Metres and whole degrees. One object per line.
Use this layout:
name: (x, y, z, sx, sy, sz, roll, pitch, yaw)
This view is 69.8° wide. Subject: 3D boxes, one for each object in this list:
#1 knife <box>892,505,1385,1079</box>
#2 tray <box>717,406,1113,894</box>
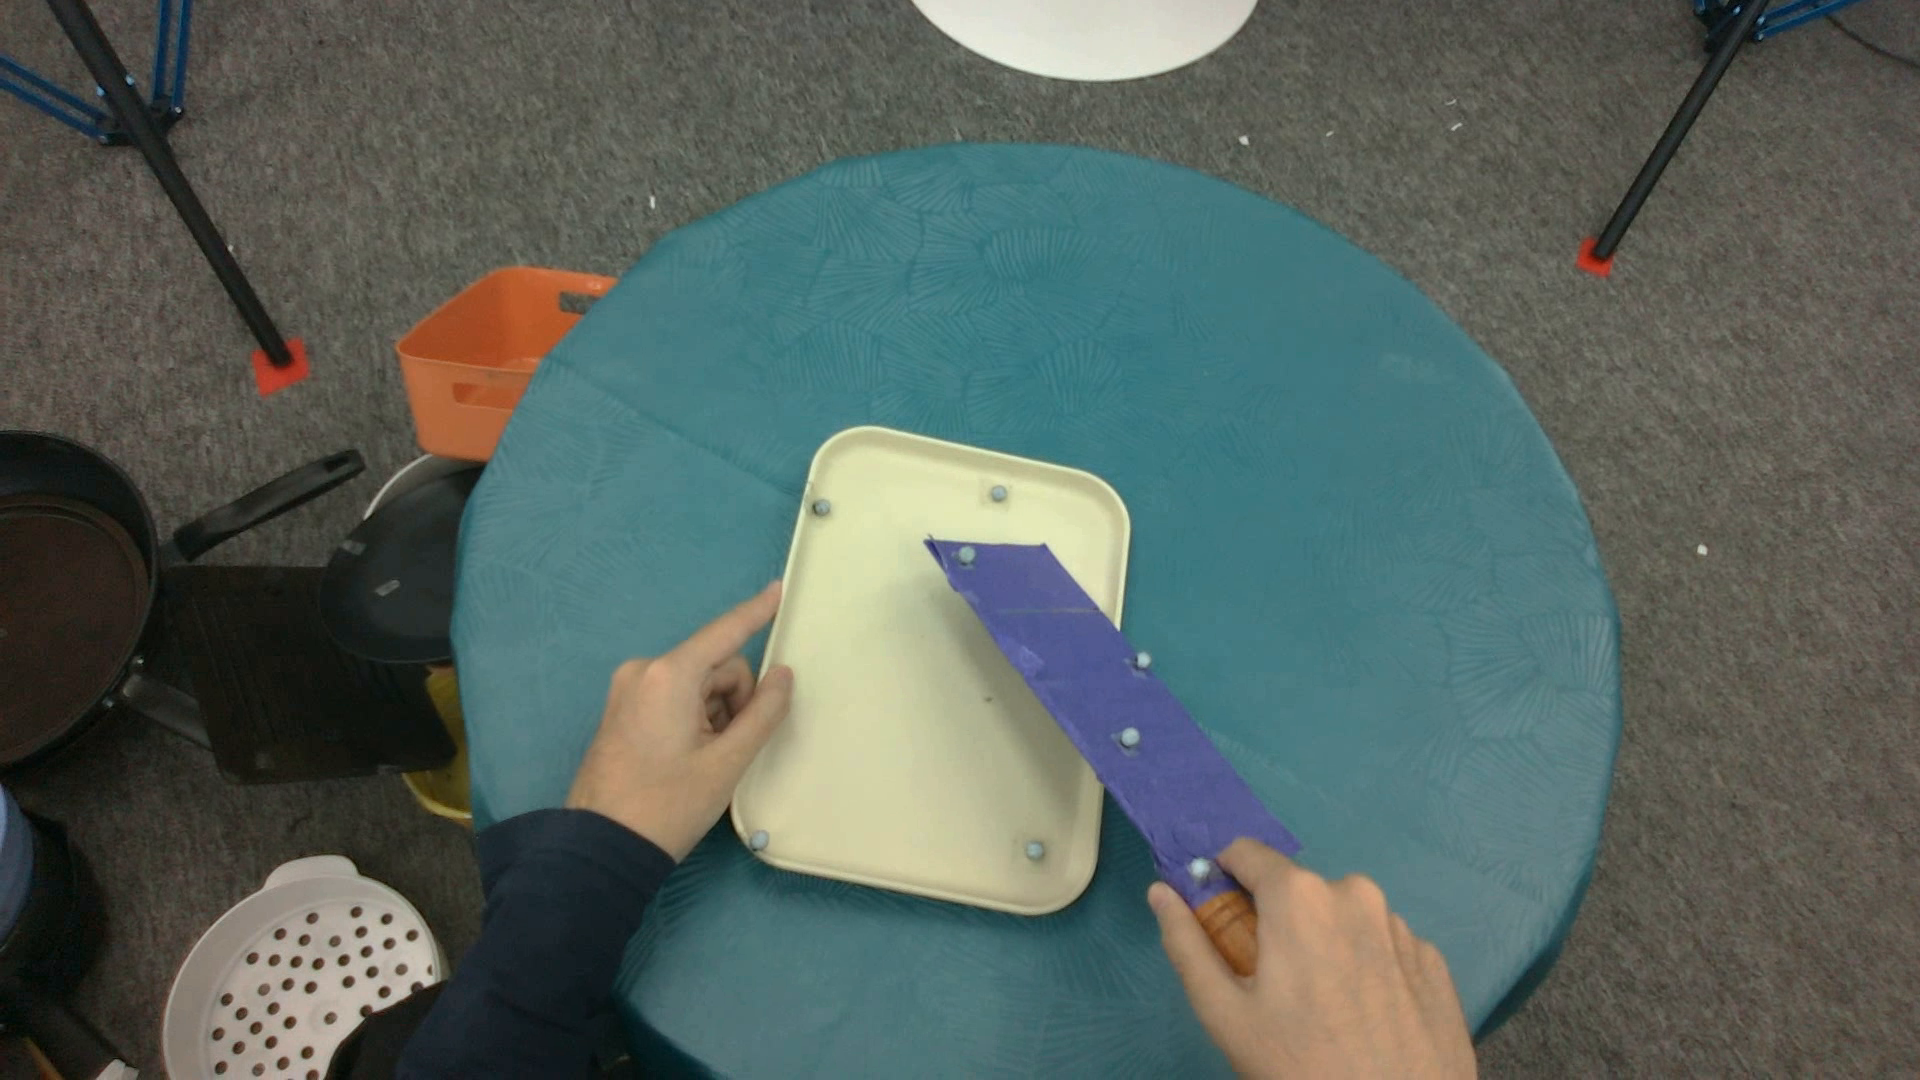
knife: (0.084, 0.088, 0.599, 0.104, 0.032, 0.316, 1, 41, -44)
tray: (-0.015, 0.047, 0.674, 0.171, 0.017, 0.240, 12, 60, -5)
